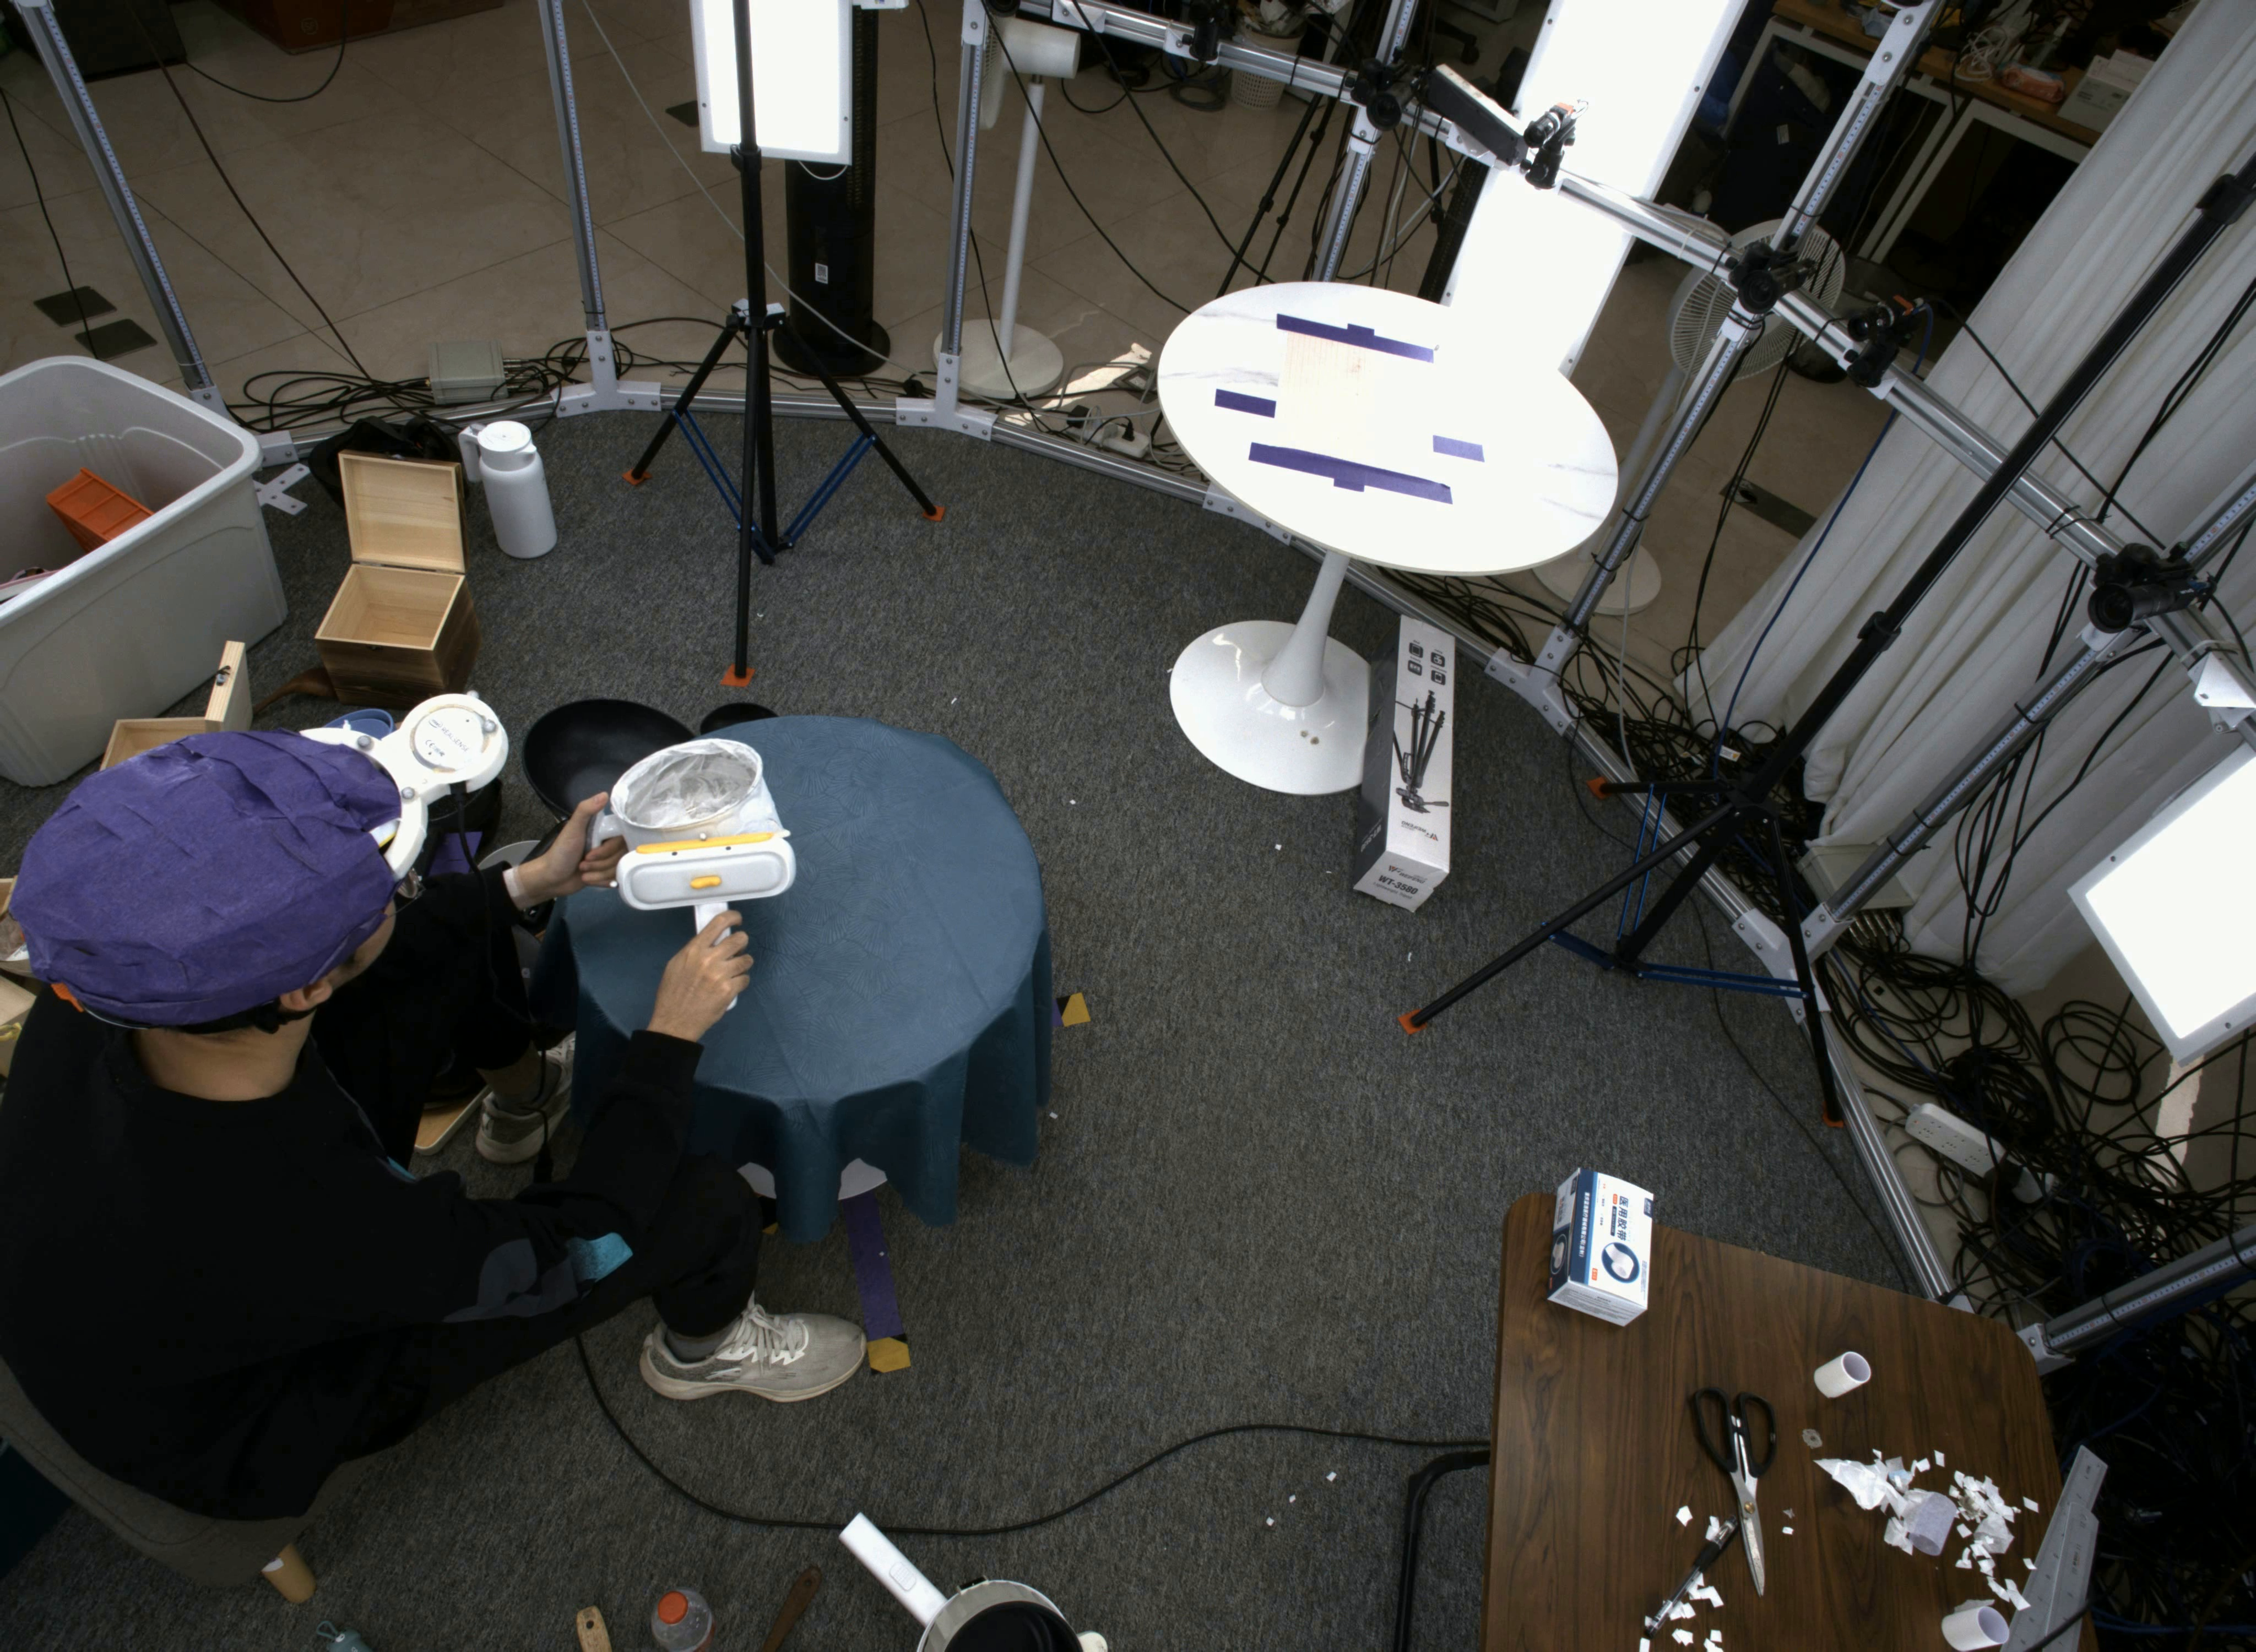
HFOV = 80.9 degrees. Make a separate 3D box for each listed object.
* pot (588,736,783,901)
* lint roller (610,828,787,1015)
[{"bbox_3d":[-0.530,0.002,1.516,0.233,0.141,0.173,-14,37,-13],"label":"pot"},{"bbox_3d":[-0.464,0.108,1.427,0.194,0.072,0.197,-11,101,-21],"label":"lint roller"}]
